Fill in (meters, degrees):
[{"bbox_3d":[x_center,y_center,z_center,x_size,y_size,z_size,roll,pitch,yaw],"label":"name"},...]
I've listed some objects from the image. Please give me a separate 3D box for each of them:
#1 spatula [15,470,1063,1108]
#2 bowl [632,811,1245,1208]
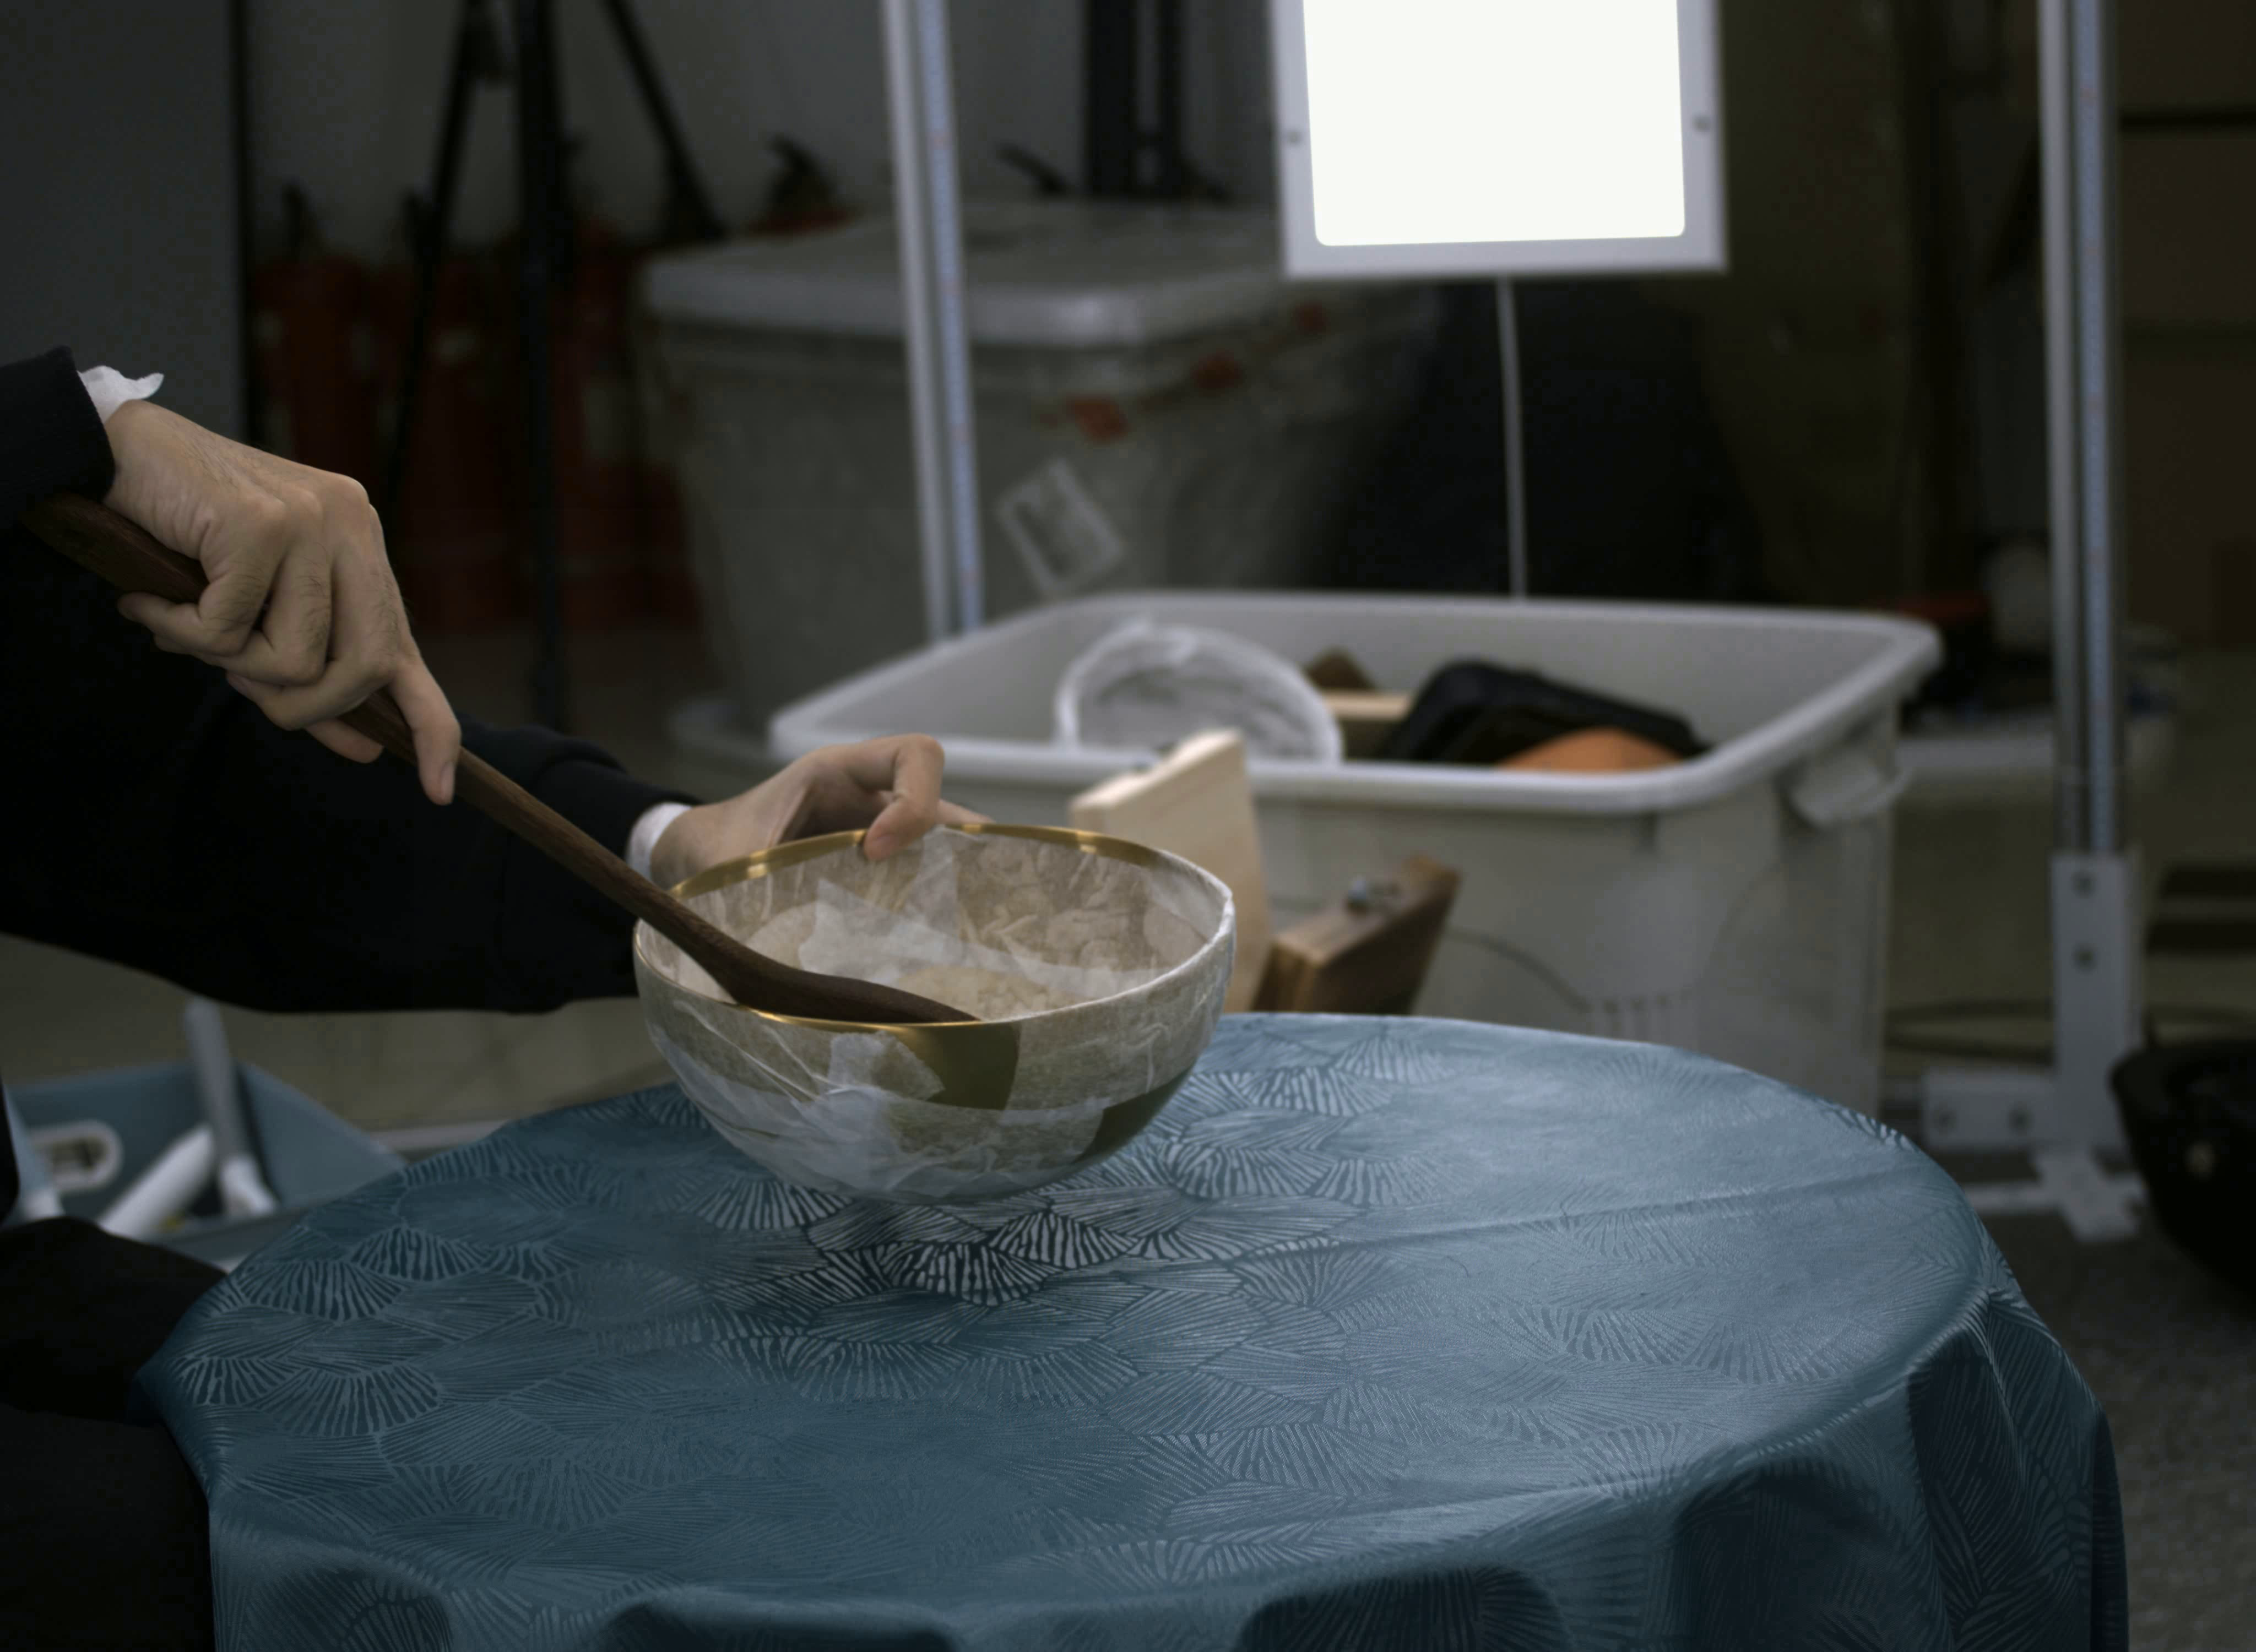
[{"bbox_3d":[-0.187,-0.003,1.745,0.098,0.382,0.015,-33,26,53],"label":"spatula"},{"bbox_3d":[-0.062,0.071,1.852,0.214,0.095,0.214,-5,20,0],"label":"bowl"}]
